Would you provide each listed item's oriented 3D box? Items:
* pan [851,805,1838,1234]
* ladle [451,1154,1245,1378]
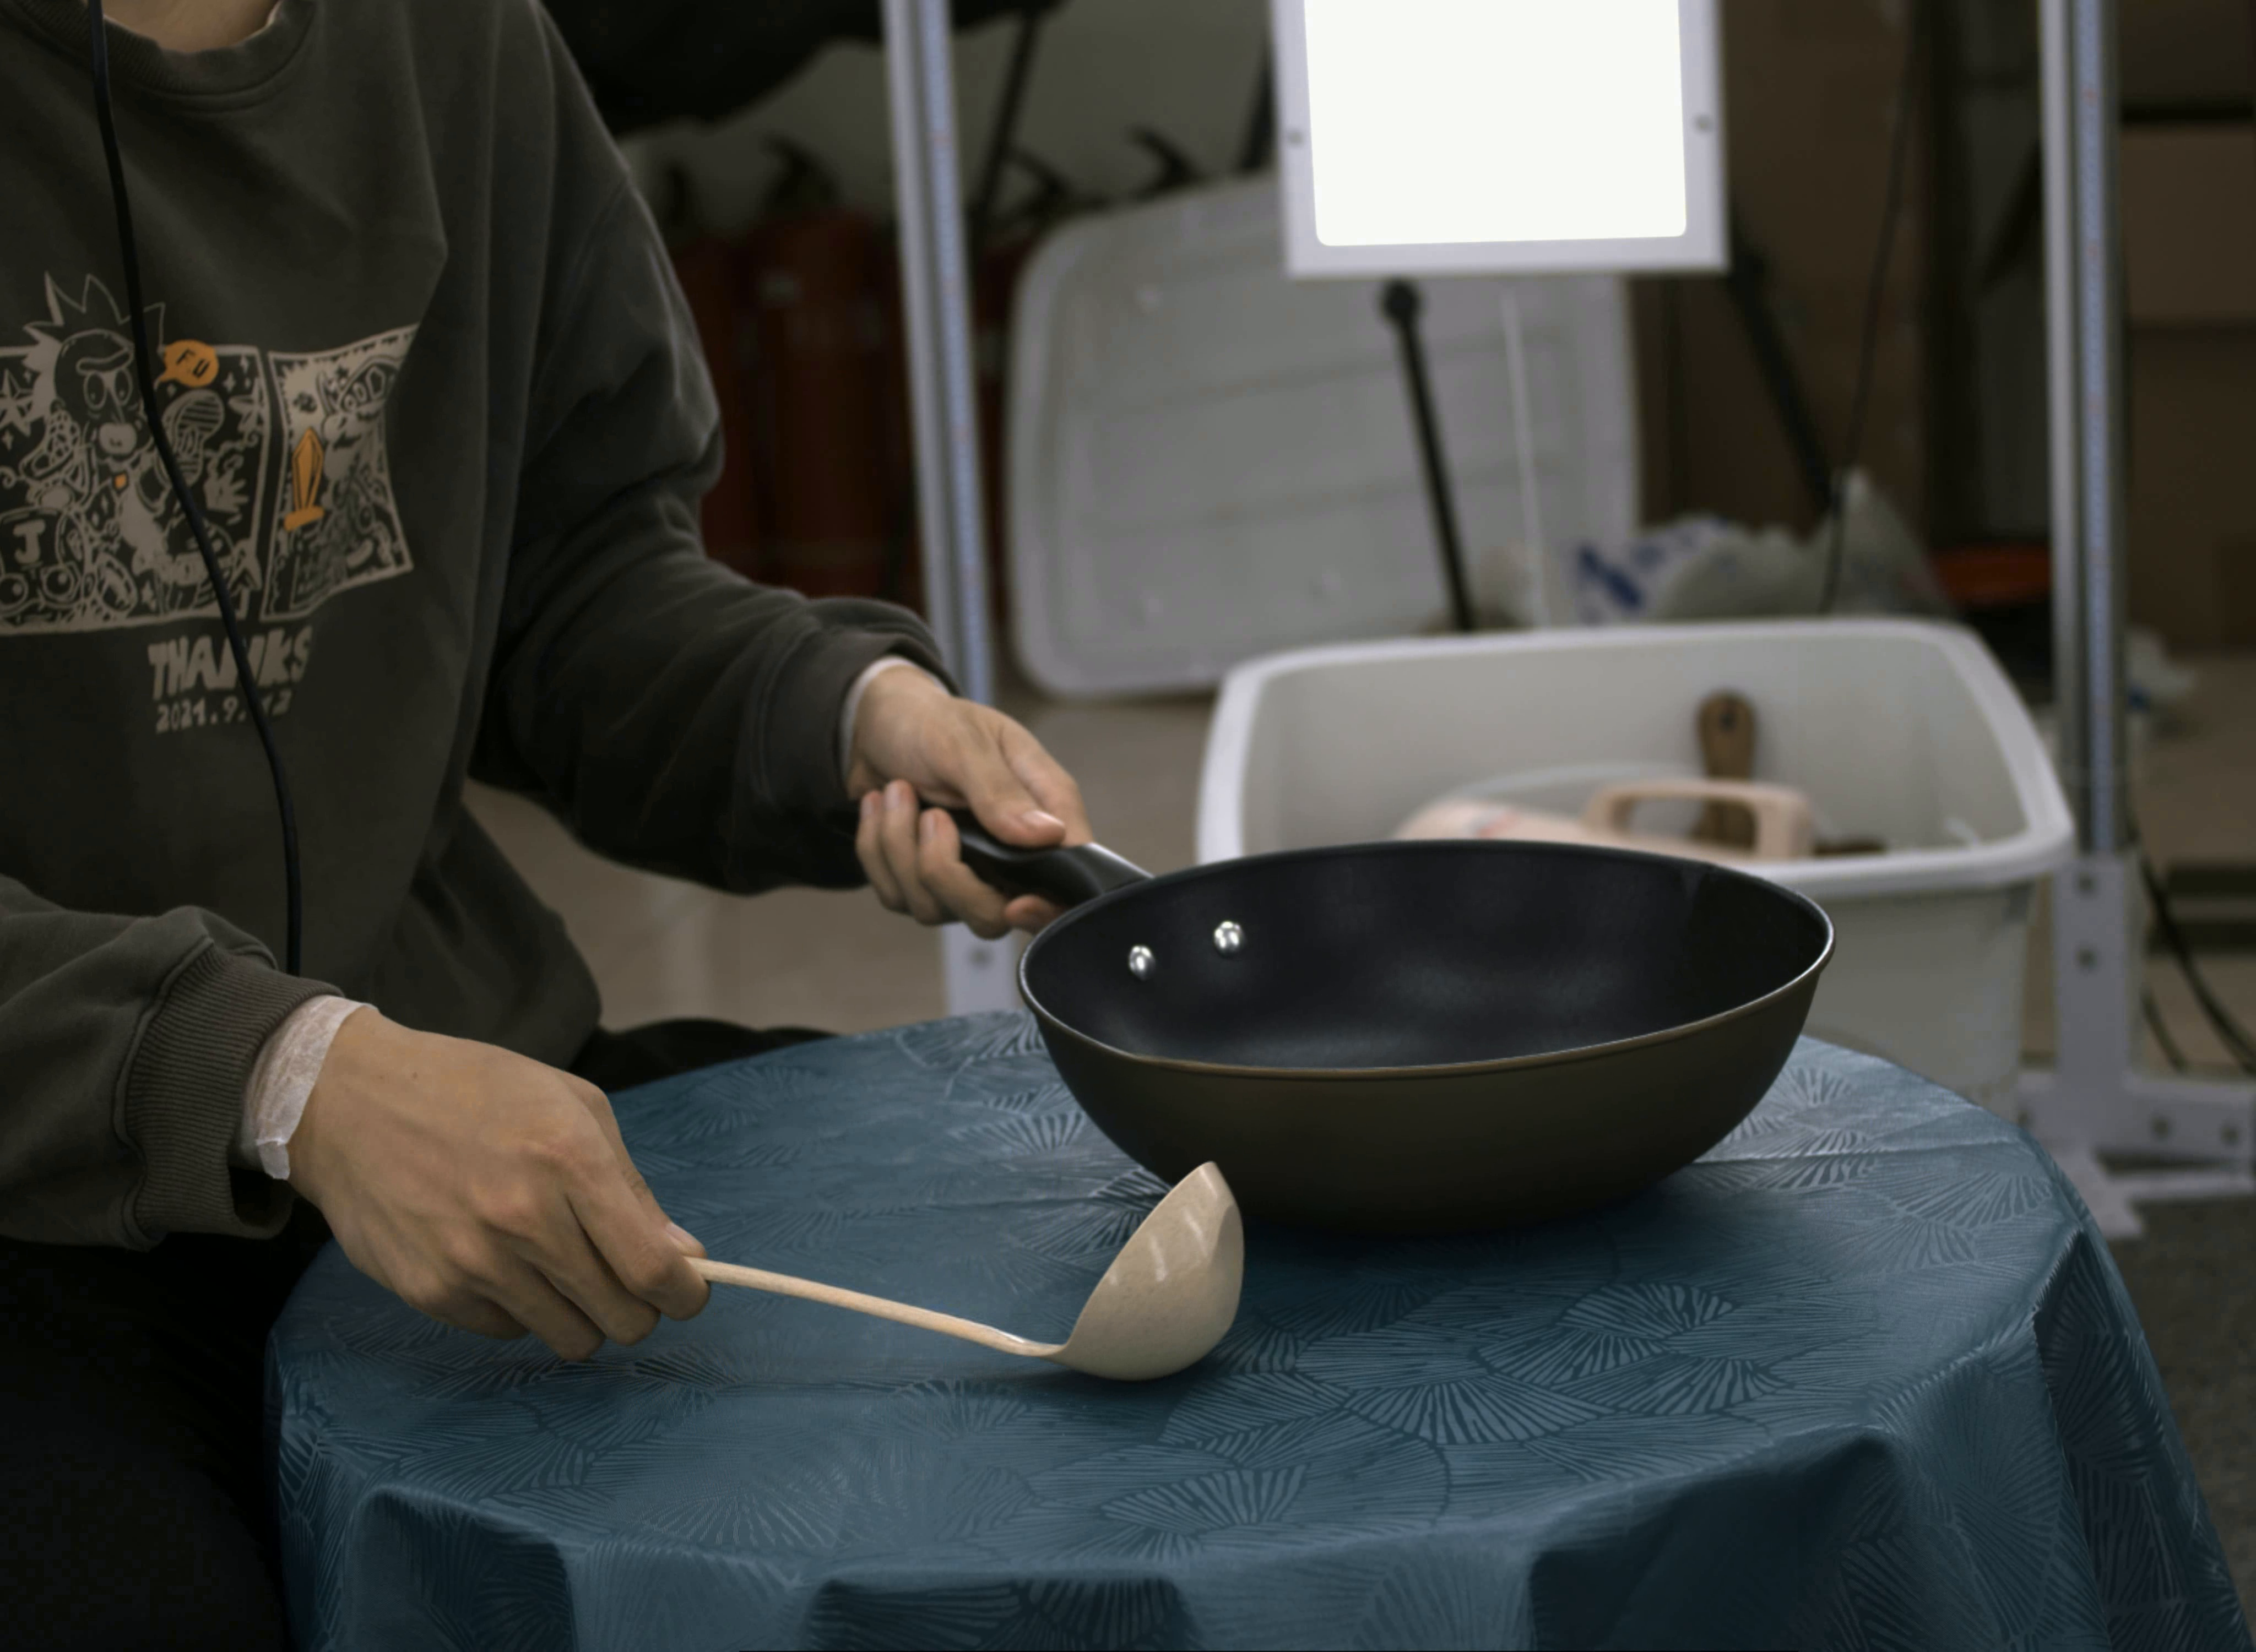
[{"bbox_3d":[0.045,0.063,1.948,0.281,0.087,0.473,-15,18,-37],"label":"pan"},{"bbox_3d":[-0.089,0.123,1.733,0.256,0.073,0.071,8,1,15],"label":"ladle"}]
